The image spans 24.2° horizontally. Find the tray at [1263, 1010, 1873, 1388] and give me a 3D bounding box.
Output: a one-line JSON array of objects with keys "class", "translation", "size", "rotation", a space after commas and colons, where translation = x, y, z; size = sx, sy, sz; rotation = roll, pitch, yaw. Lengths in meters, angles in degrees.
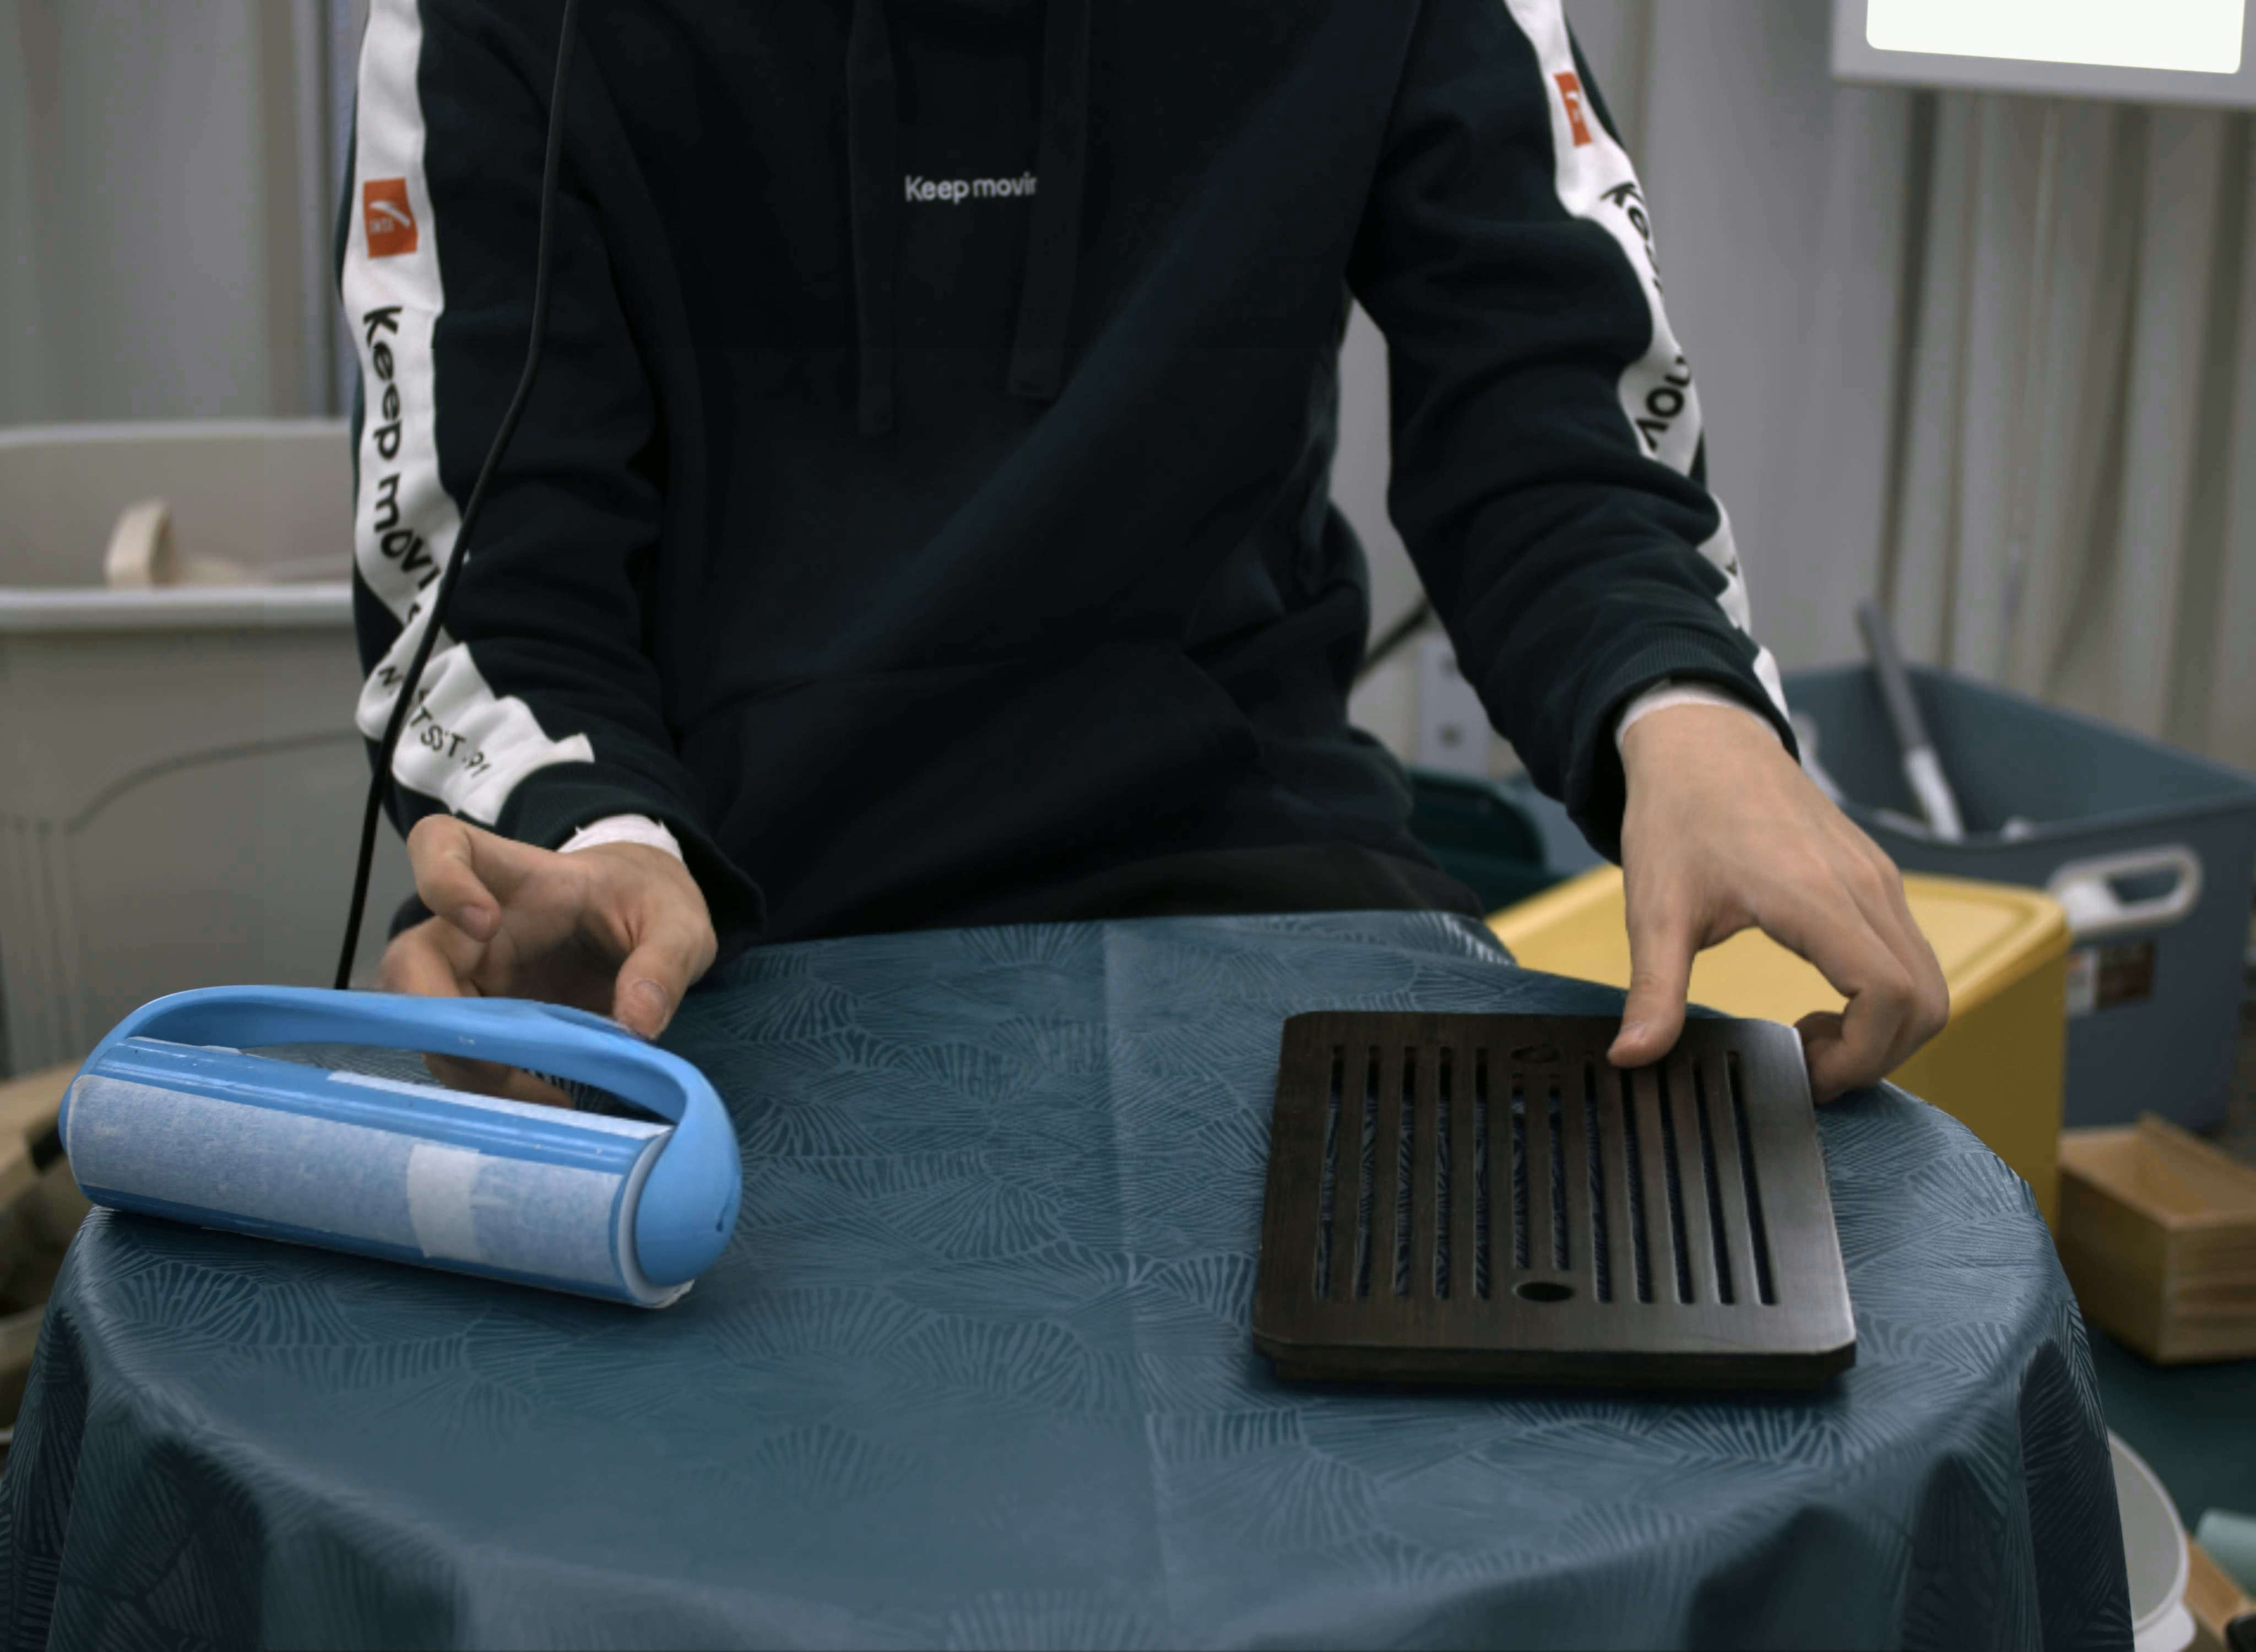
[{"class": "tray", "translation": [0.130, 0.110, 1.596], "size": [0.169, 0.019, 0.304], "rotation": [1, 16, 3]}]

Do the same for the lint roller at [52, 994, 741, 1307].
[{"class": "lint roller", "translation": [-0.195, 0.085, 1.603], "size": [0.226, 0.068, 0.180], "rotation": [5, 18, 22]}]
